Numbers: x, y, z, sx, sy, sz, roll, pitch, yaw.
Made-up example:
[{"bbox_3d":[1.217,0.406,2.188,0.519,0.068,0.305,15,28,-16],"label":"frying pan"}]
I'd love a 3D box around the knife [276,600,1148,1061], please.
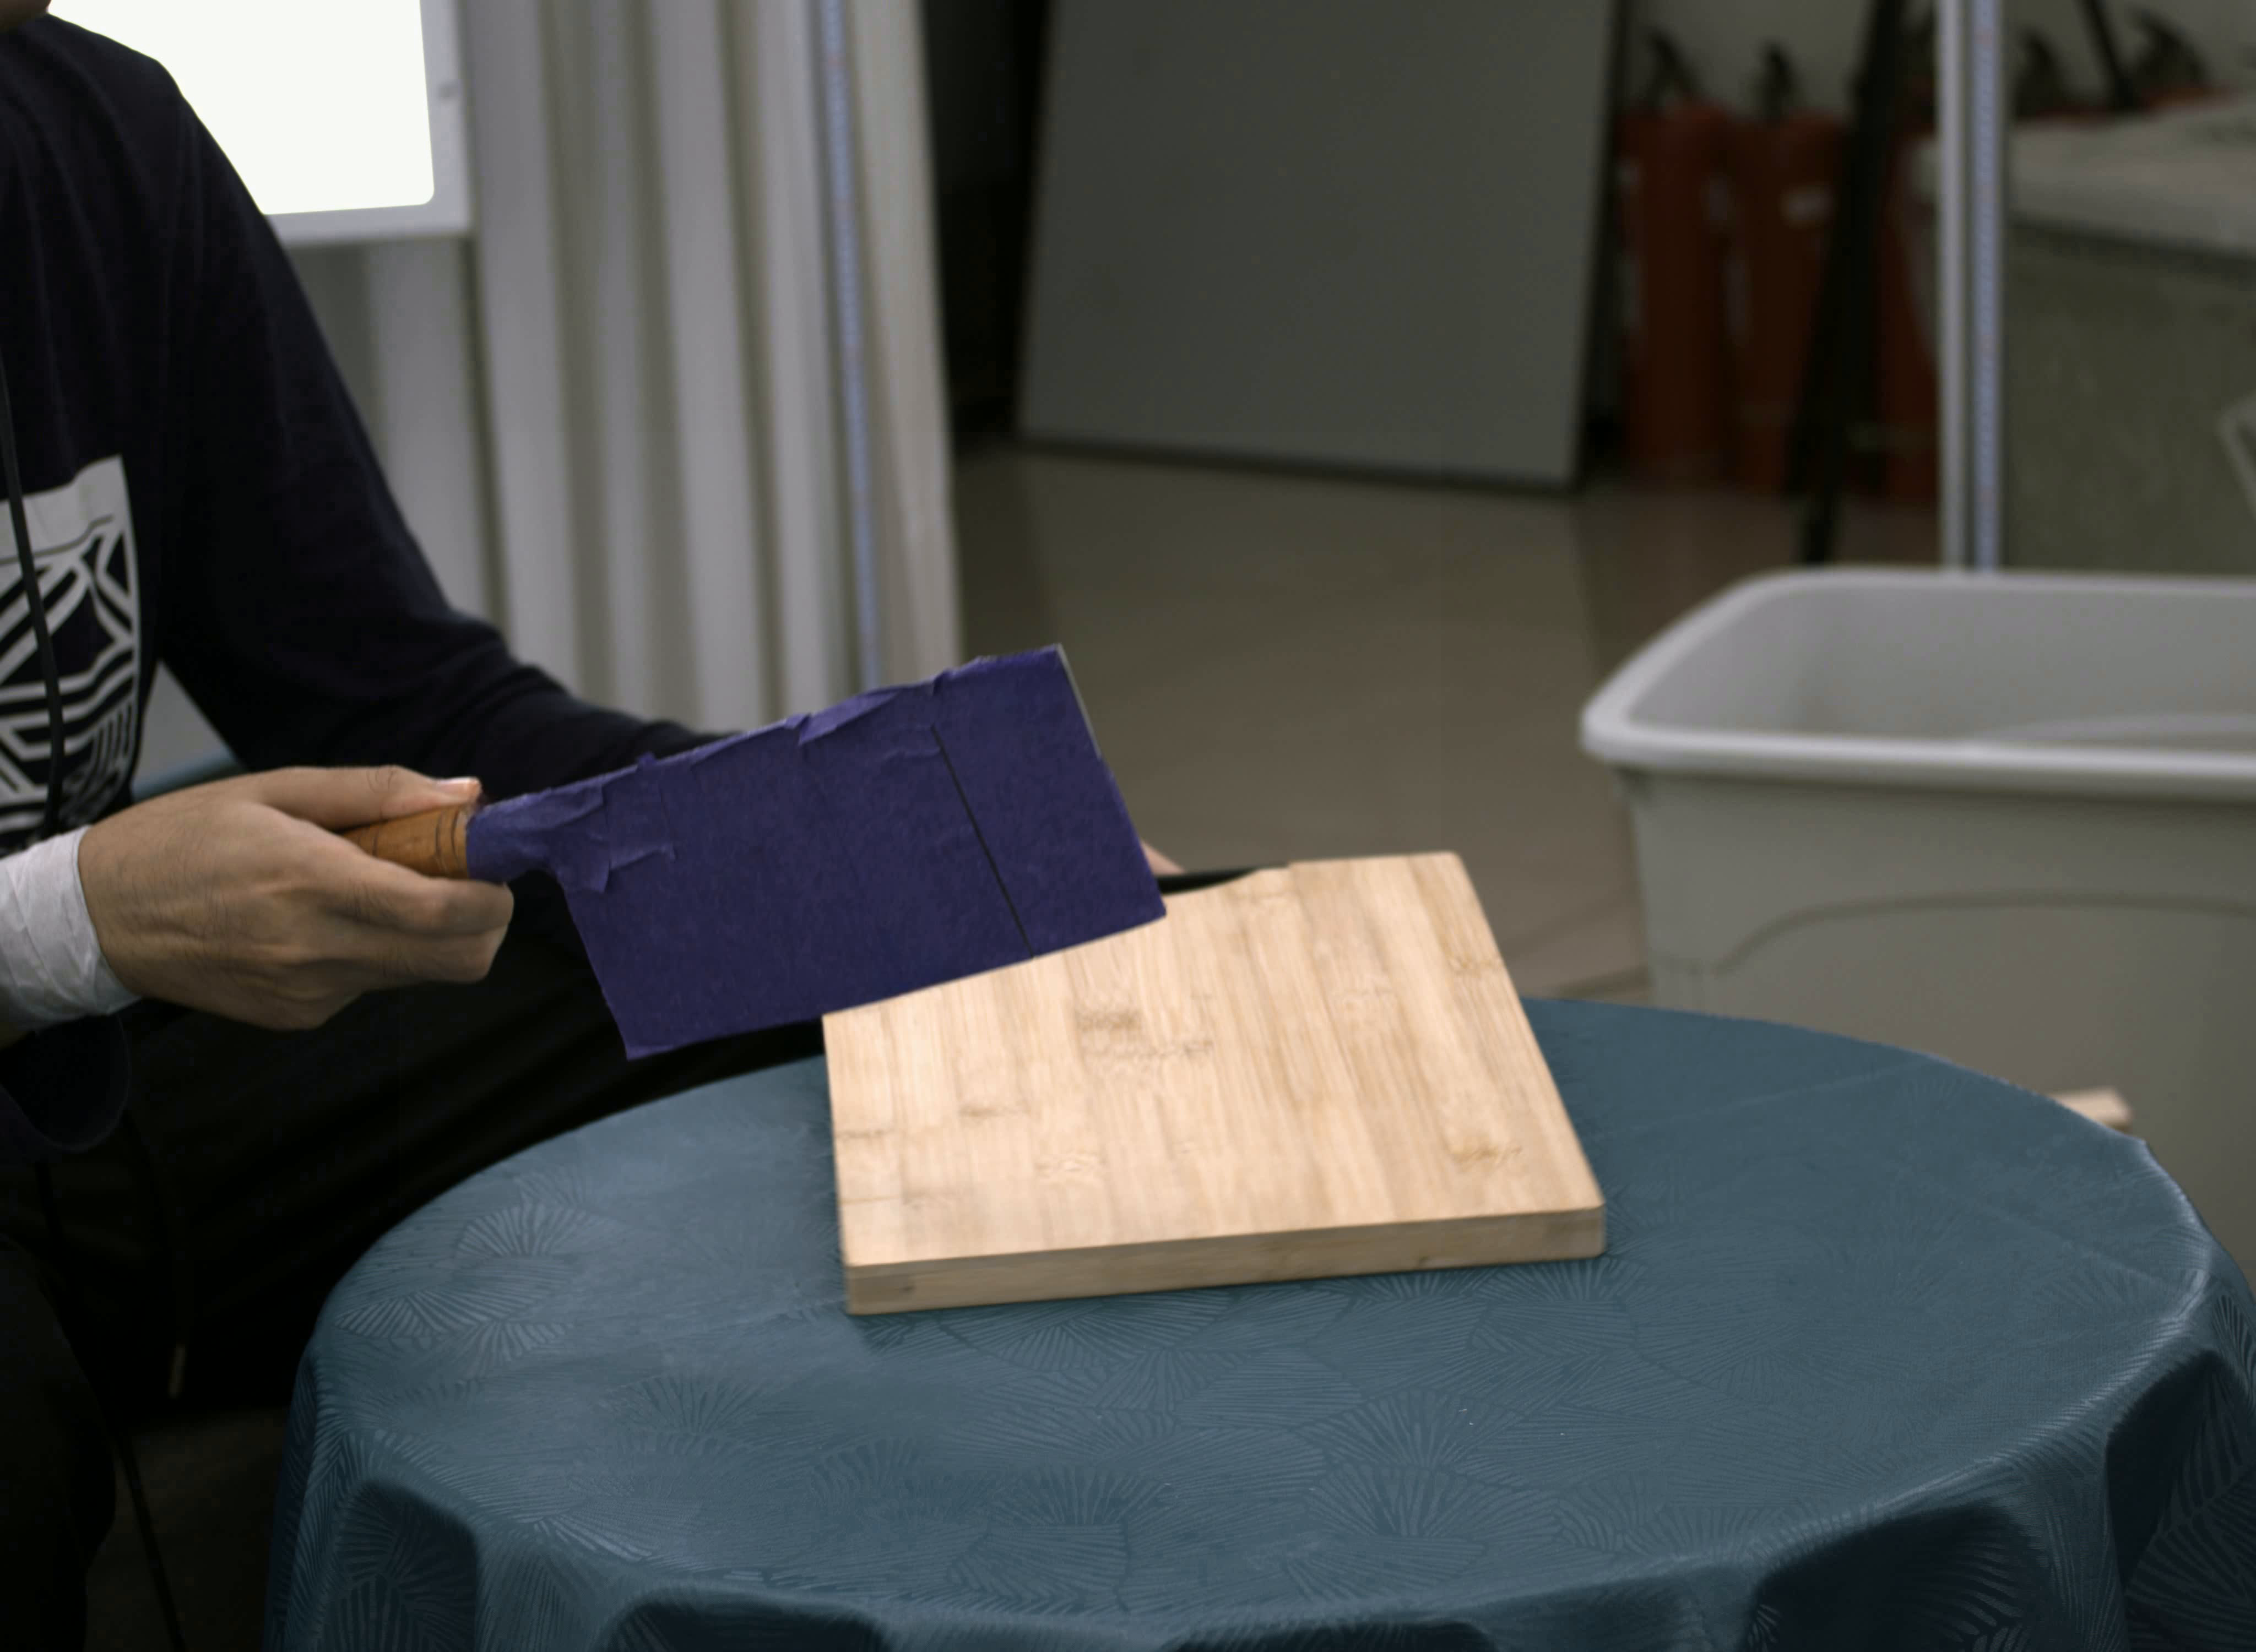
[{"bbox_3d":[-0.131,0.021,1.640,0.317,0.104,0.032,-17,8,37],"label":"knife"}]

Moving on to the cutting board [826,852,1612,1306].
[{"bbox_3d":[0.019,0.081,1.840,0.247,0.024,0.350,-5,18,-4],"label":"cutting board"}]
